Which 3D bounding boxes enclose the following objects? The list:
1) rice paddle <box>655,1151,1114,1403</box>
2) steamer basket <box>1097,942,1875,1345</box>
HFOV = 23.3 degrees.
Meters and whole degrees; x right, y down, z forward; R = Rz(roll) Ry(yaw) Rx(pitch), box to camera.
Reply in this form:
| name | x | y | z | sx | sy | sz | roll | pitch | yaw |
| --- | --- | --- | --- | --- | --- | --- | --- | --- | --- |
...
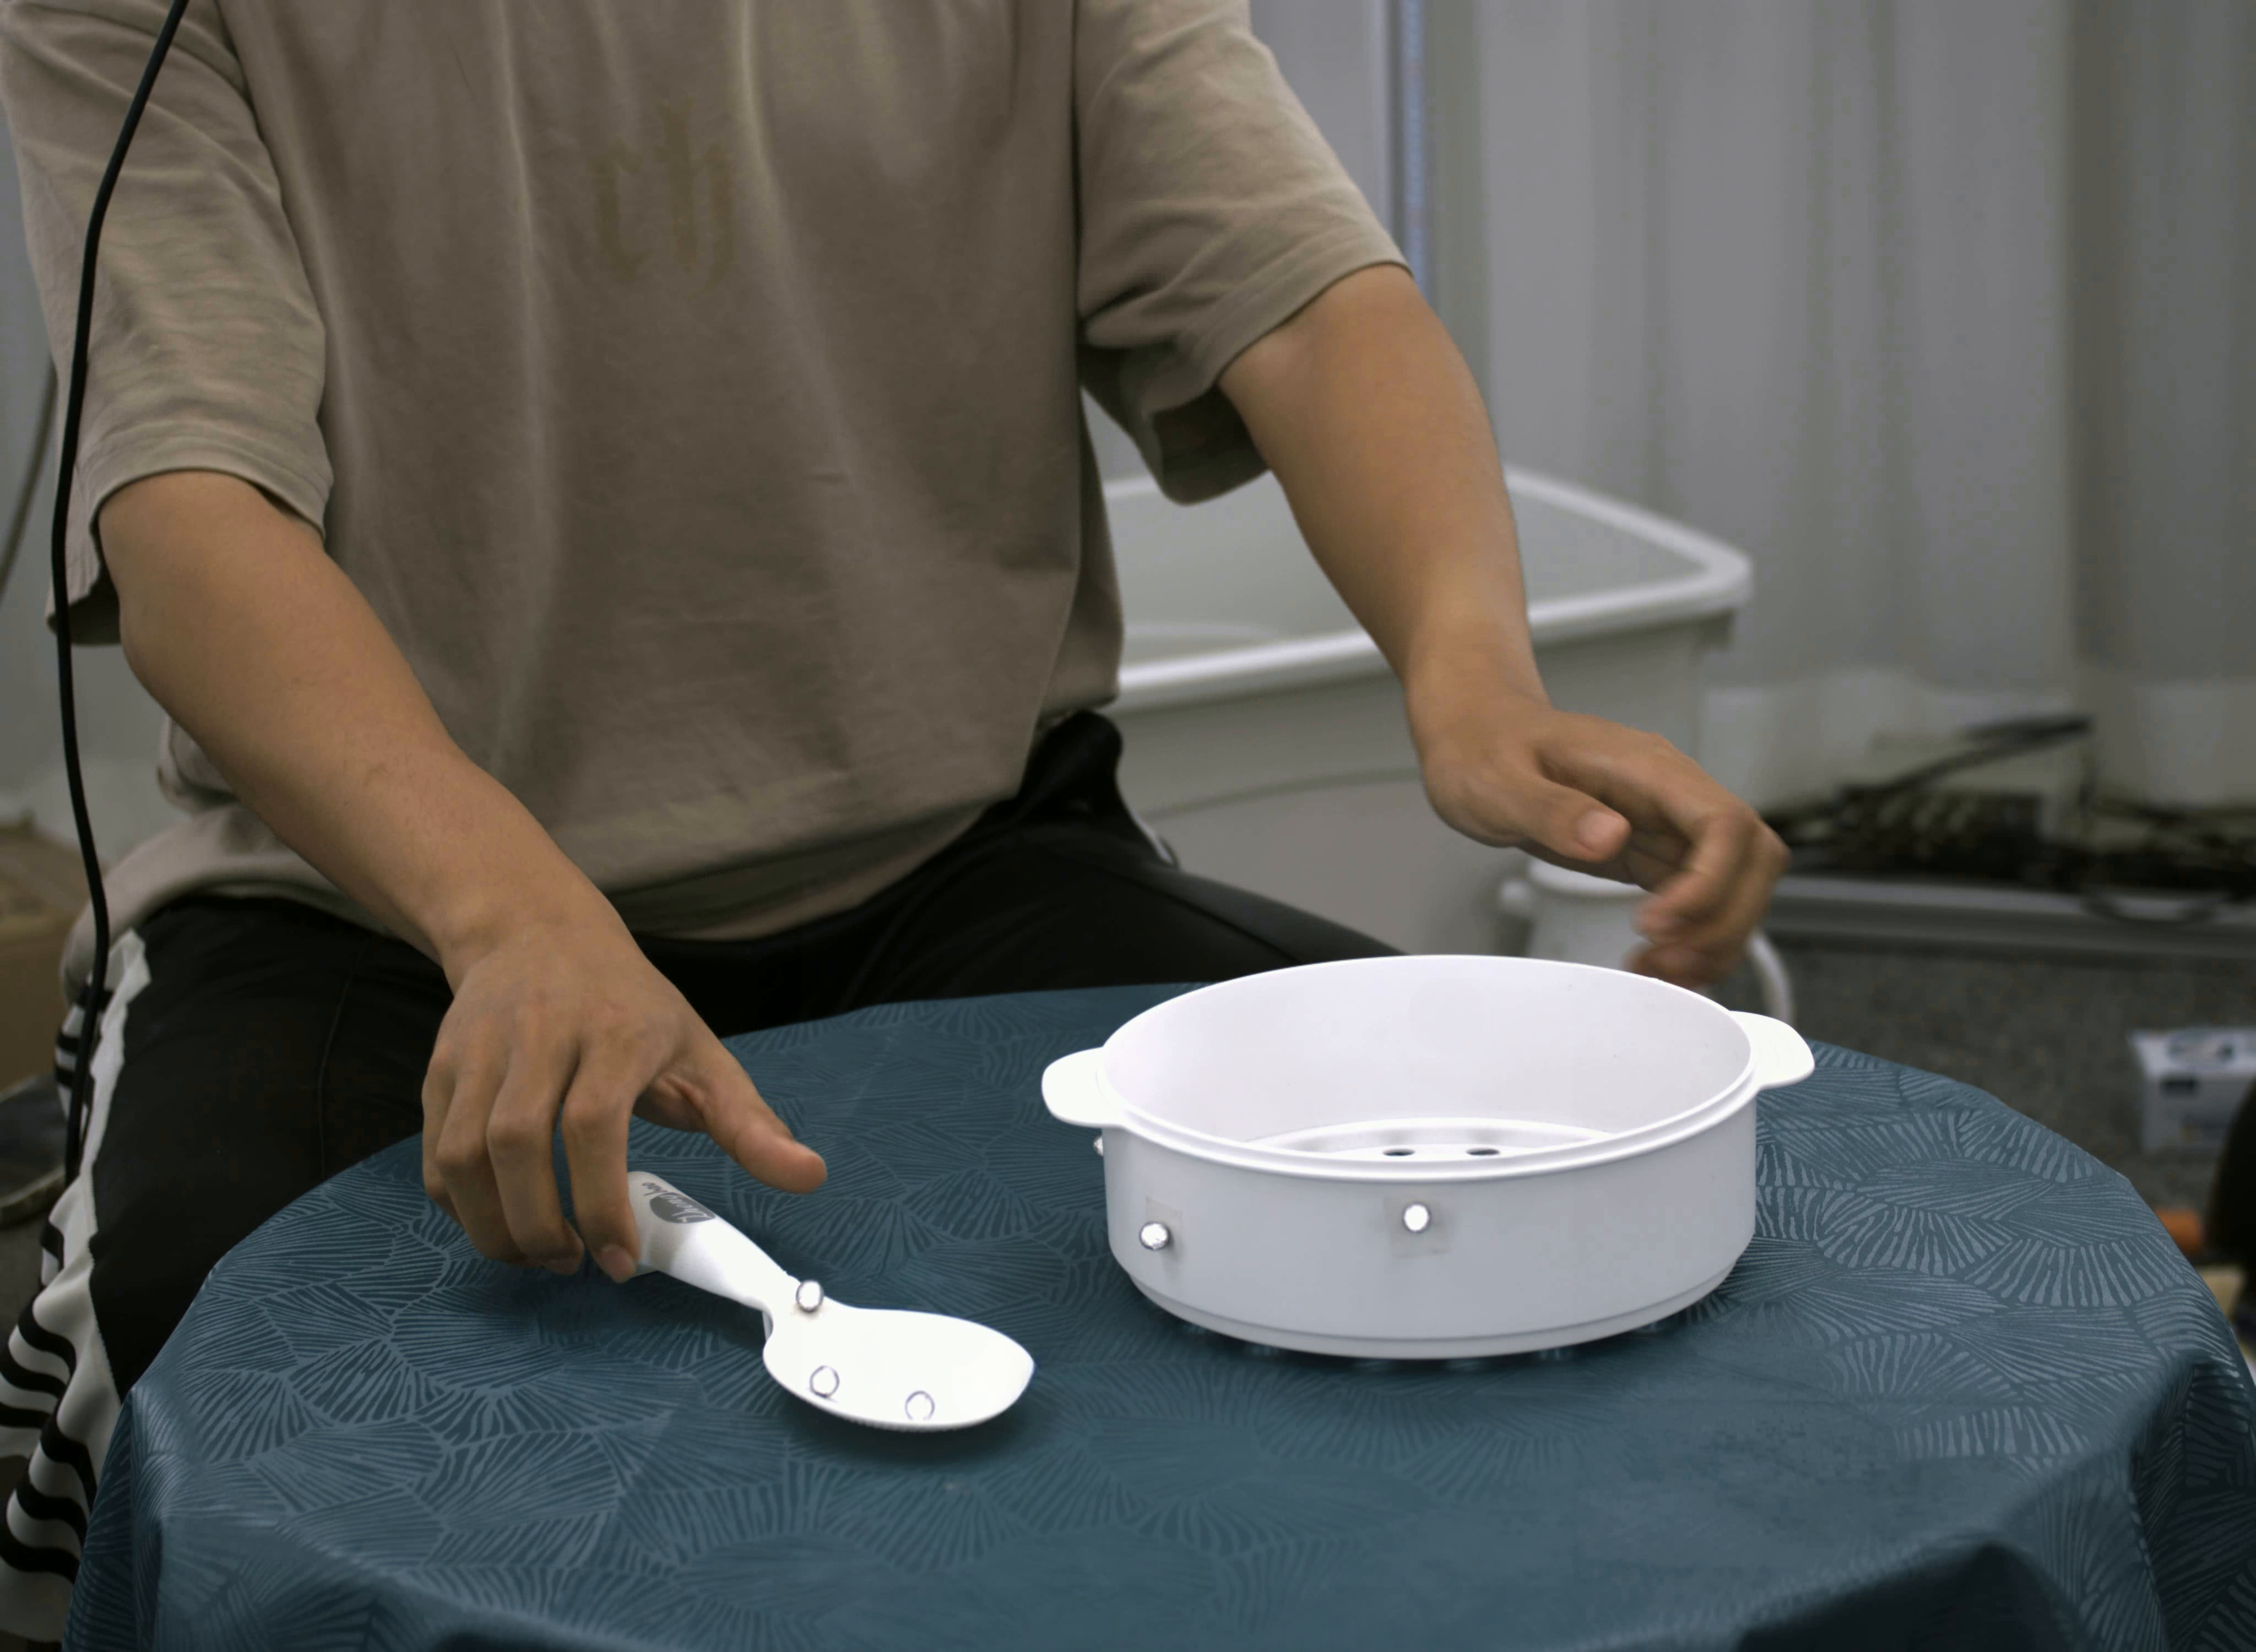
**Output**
| name | x | y | z | sx | sy | sz | roll | pitch | yaw |
| --- | --- | --- | --- | --- | --- | --- | --- | --- | --- |
| rice paddle | -0.074 | 0.133 | 1.585 | 0.068 | 0.029 | 0.207 | -14 | 18 | -31 |
| steamer basket | 0.106 | 0.095 | 1.631 | 0.230 | 0.069 | 0.203 | -1 | 15 | -3 |
